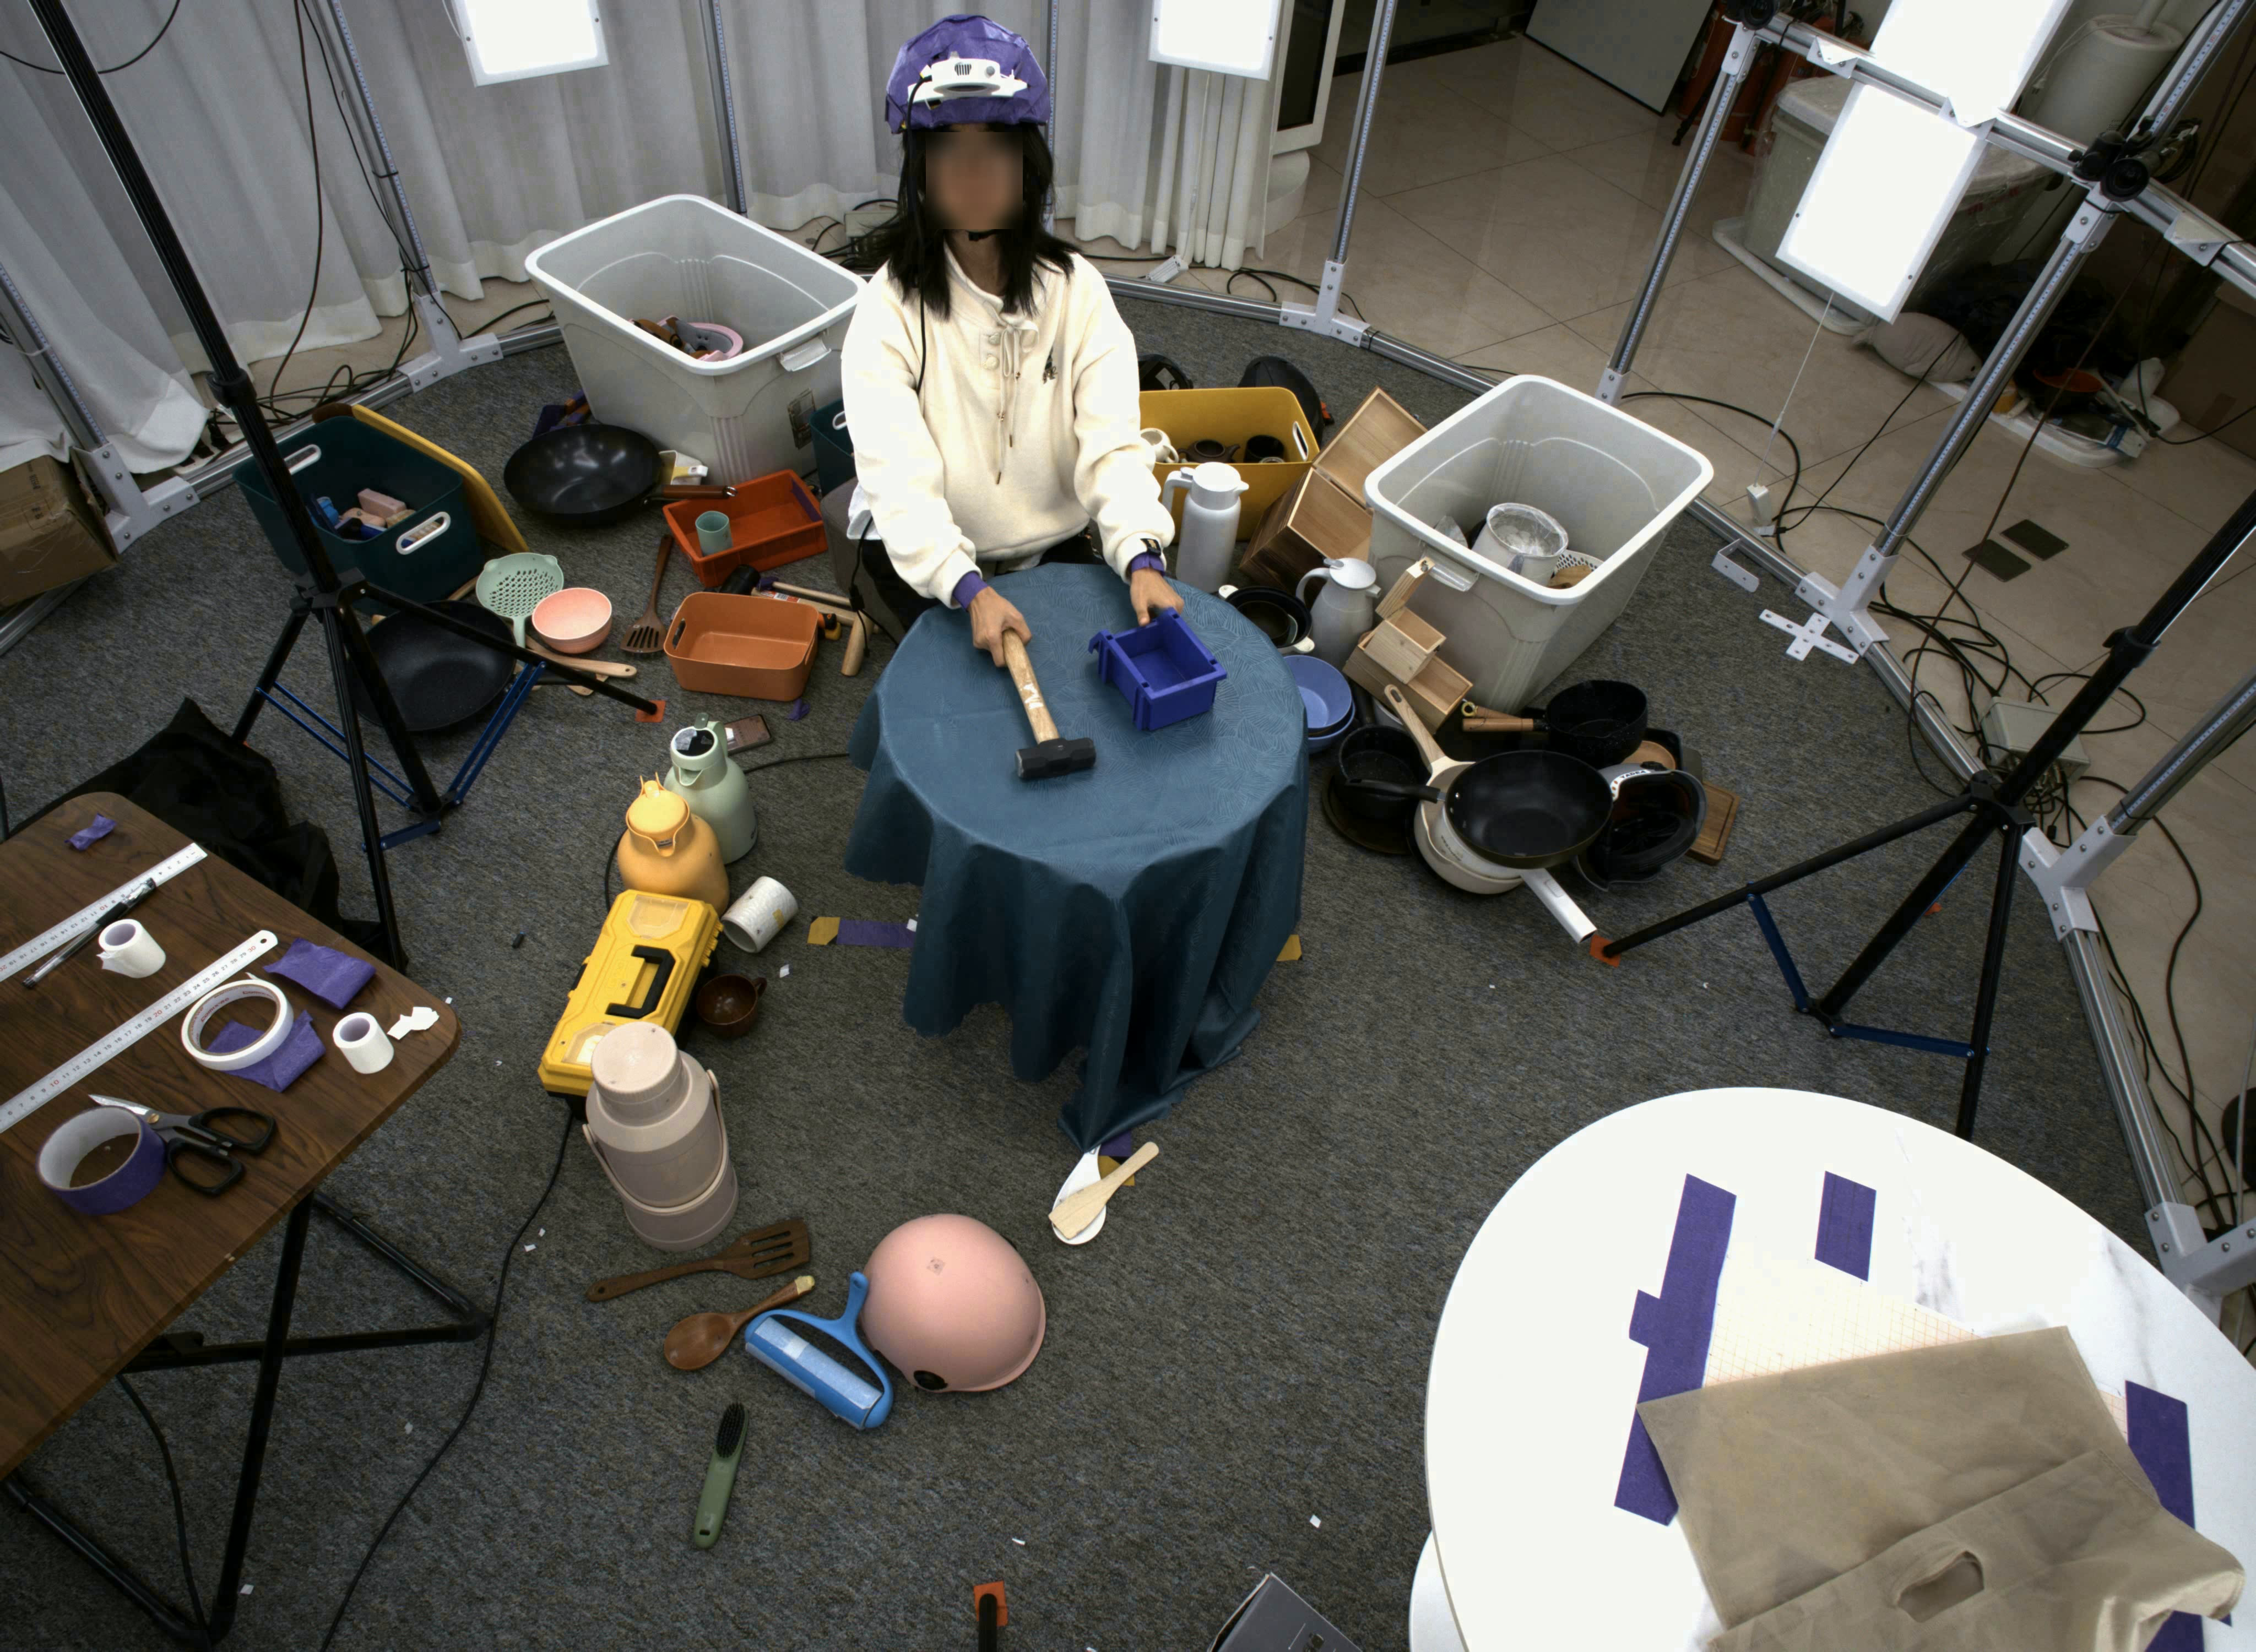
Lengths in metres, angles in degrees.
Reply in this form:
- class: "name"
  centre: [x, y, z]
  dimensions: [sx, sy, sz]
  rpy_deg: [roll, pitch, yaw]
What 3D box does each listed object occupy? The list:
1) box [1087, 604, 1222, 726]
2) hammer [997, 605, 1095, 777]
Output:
- class: "box"
  centre: [0.032, -0.233, 1.822]
  dimensions: [0.125, 0.080, 0.183]
  rpy_deg: [-20, 56, -19]
- class: "hammer"
  centre: [-0.136, -0.197, 1.797]
  dimensions: [0.107, 0.037, 0.312]
  rpy_deg: [-10, 53, -13]
